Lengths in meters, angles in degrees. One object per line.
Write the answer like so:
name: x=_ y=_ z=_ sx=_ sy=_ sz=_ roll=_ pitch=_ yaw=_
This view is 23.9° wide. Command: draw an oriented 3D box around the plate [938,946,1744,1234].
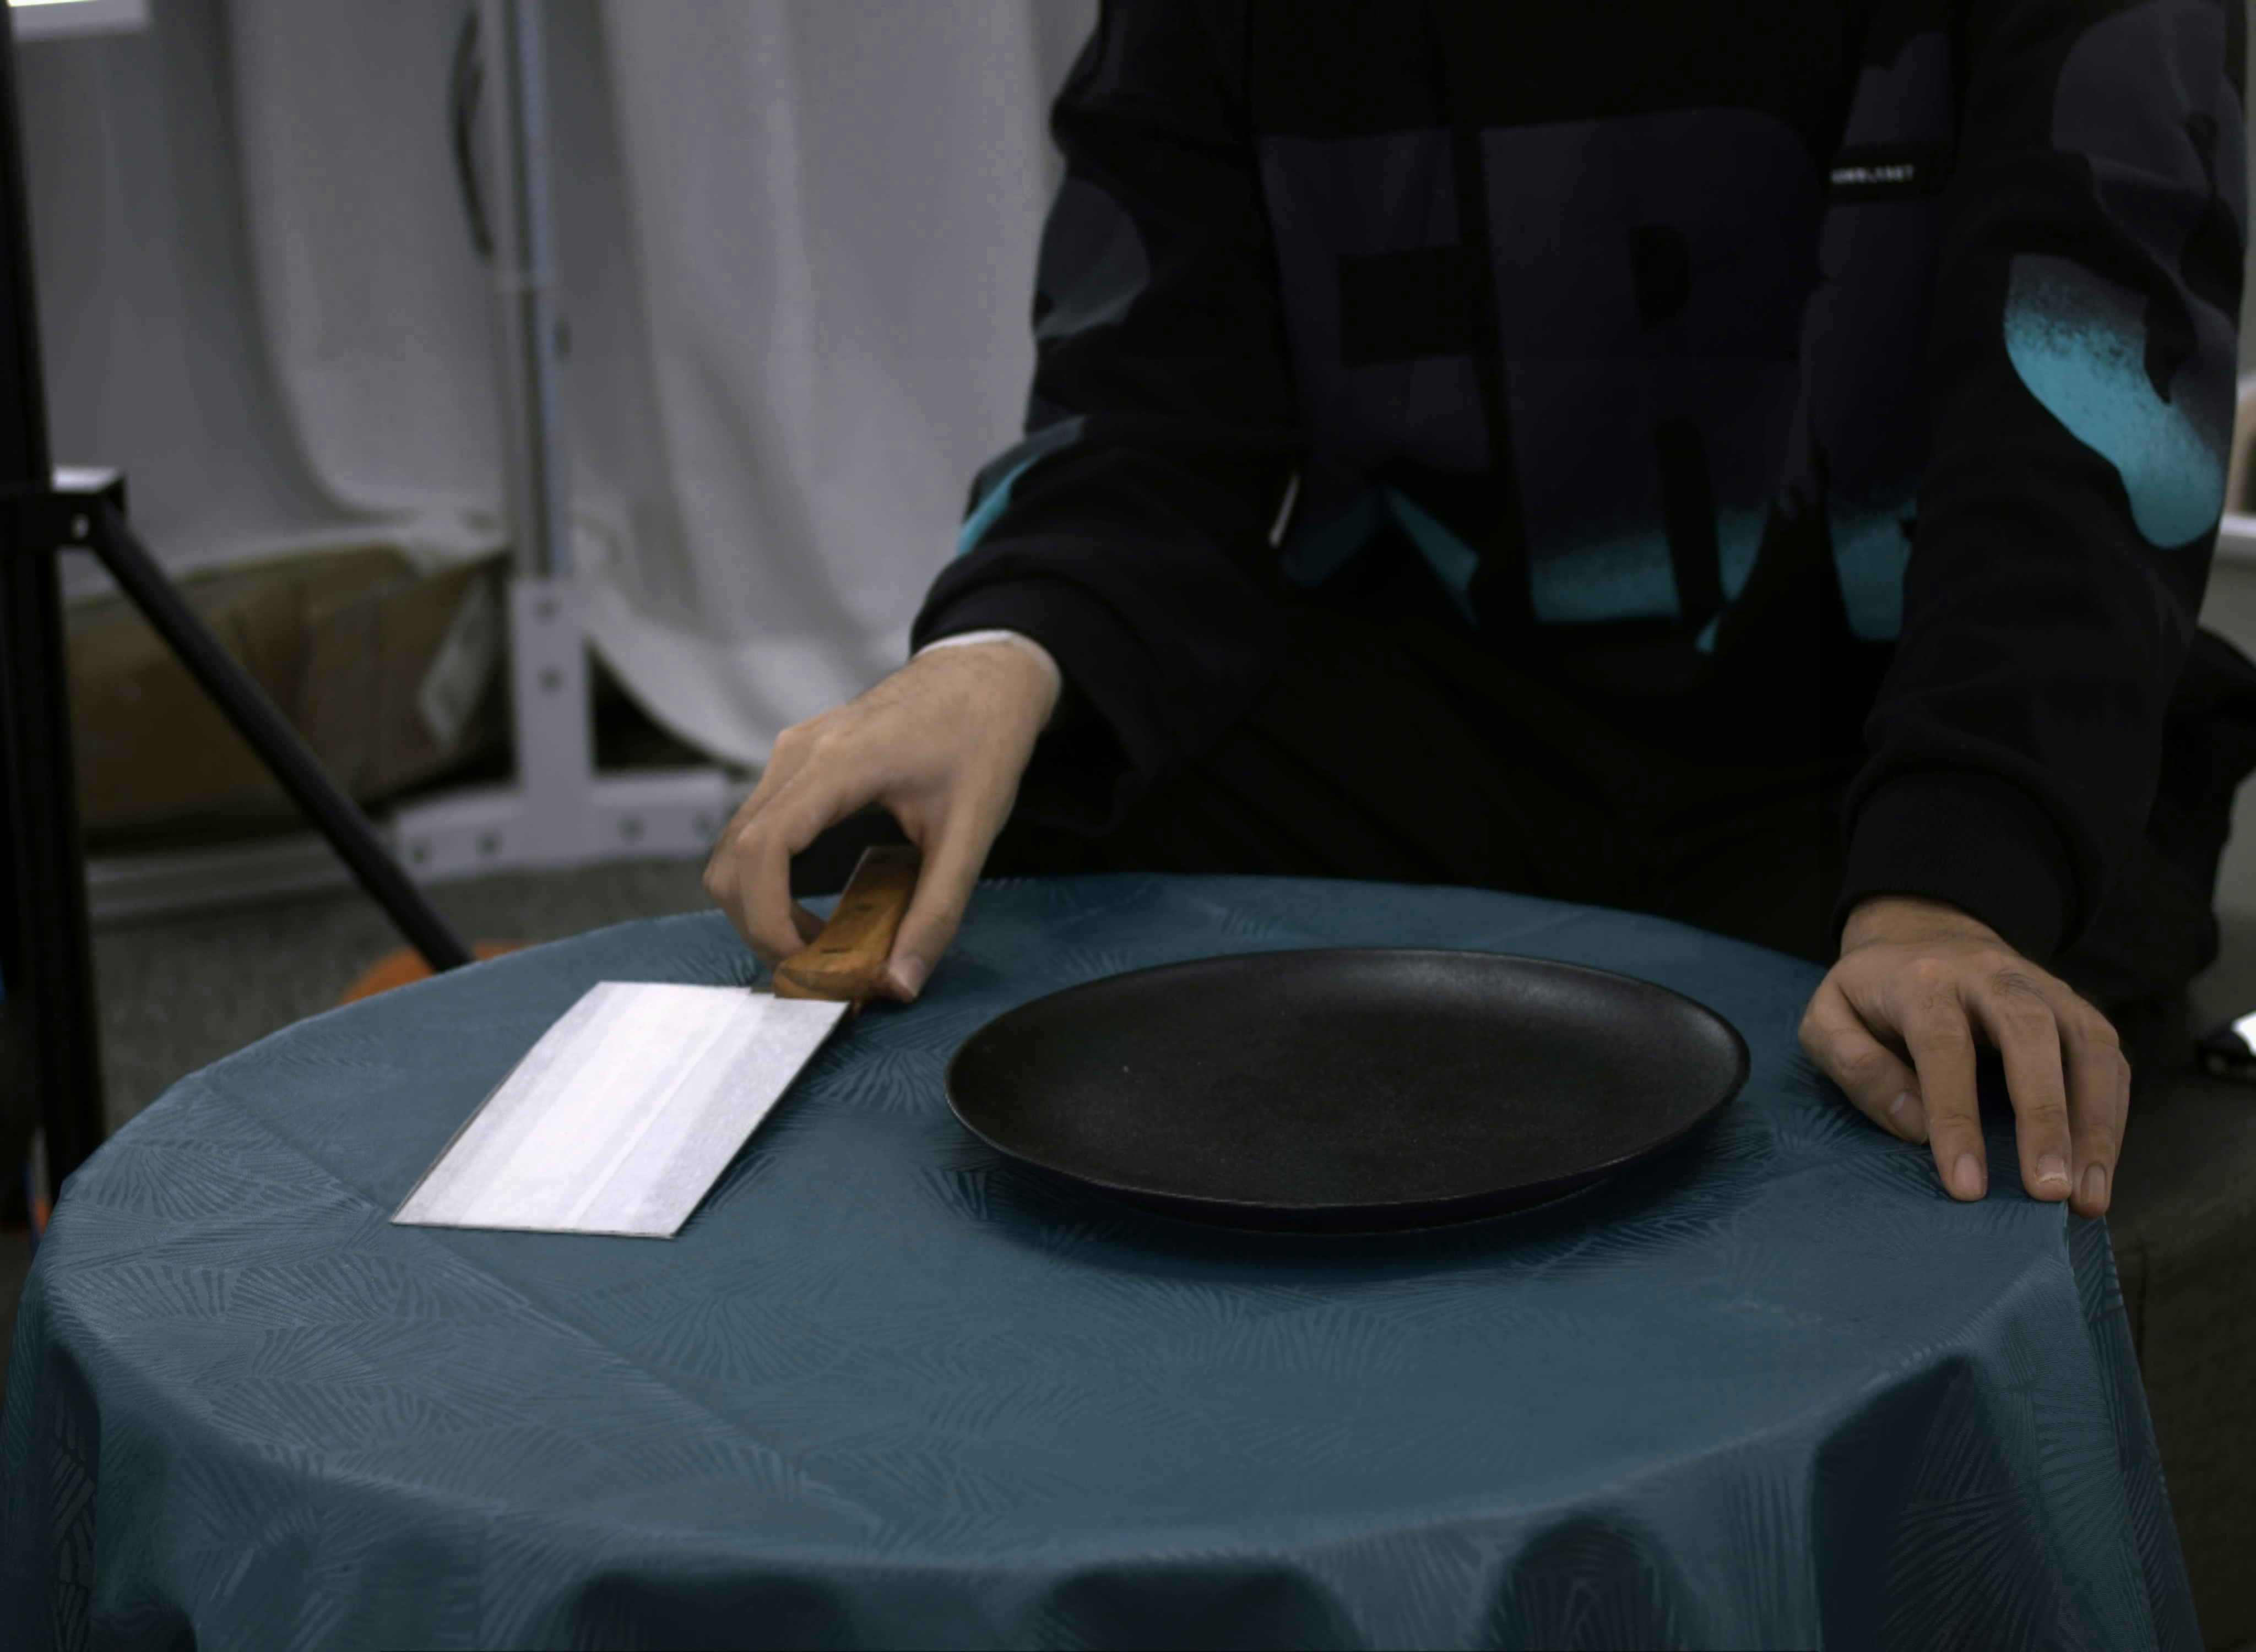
plate: x=0.064 y=0.082 z=1.596 sx=0.243 sy=0.023 sz=0.245 roll=-3 pitch=16 yaw=-1

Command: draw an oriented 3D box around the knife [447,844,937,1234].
knife: x=-0.137 y=0.065 z=1.688 sx=0.093 sy=0.021 sz=0.304 roll=1 pitch=20 yaw=15
